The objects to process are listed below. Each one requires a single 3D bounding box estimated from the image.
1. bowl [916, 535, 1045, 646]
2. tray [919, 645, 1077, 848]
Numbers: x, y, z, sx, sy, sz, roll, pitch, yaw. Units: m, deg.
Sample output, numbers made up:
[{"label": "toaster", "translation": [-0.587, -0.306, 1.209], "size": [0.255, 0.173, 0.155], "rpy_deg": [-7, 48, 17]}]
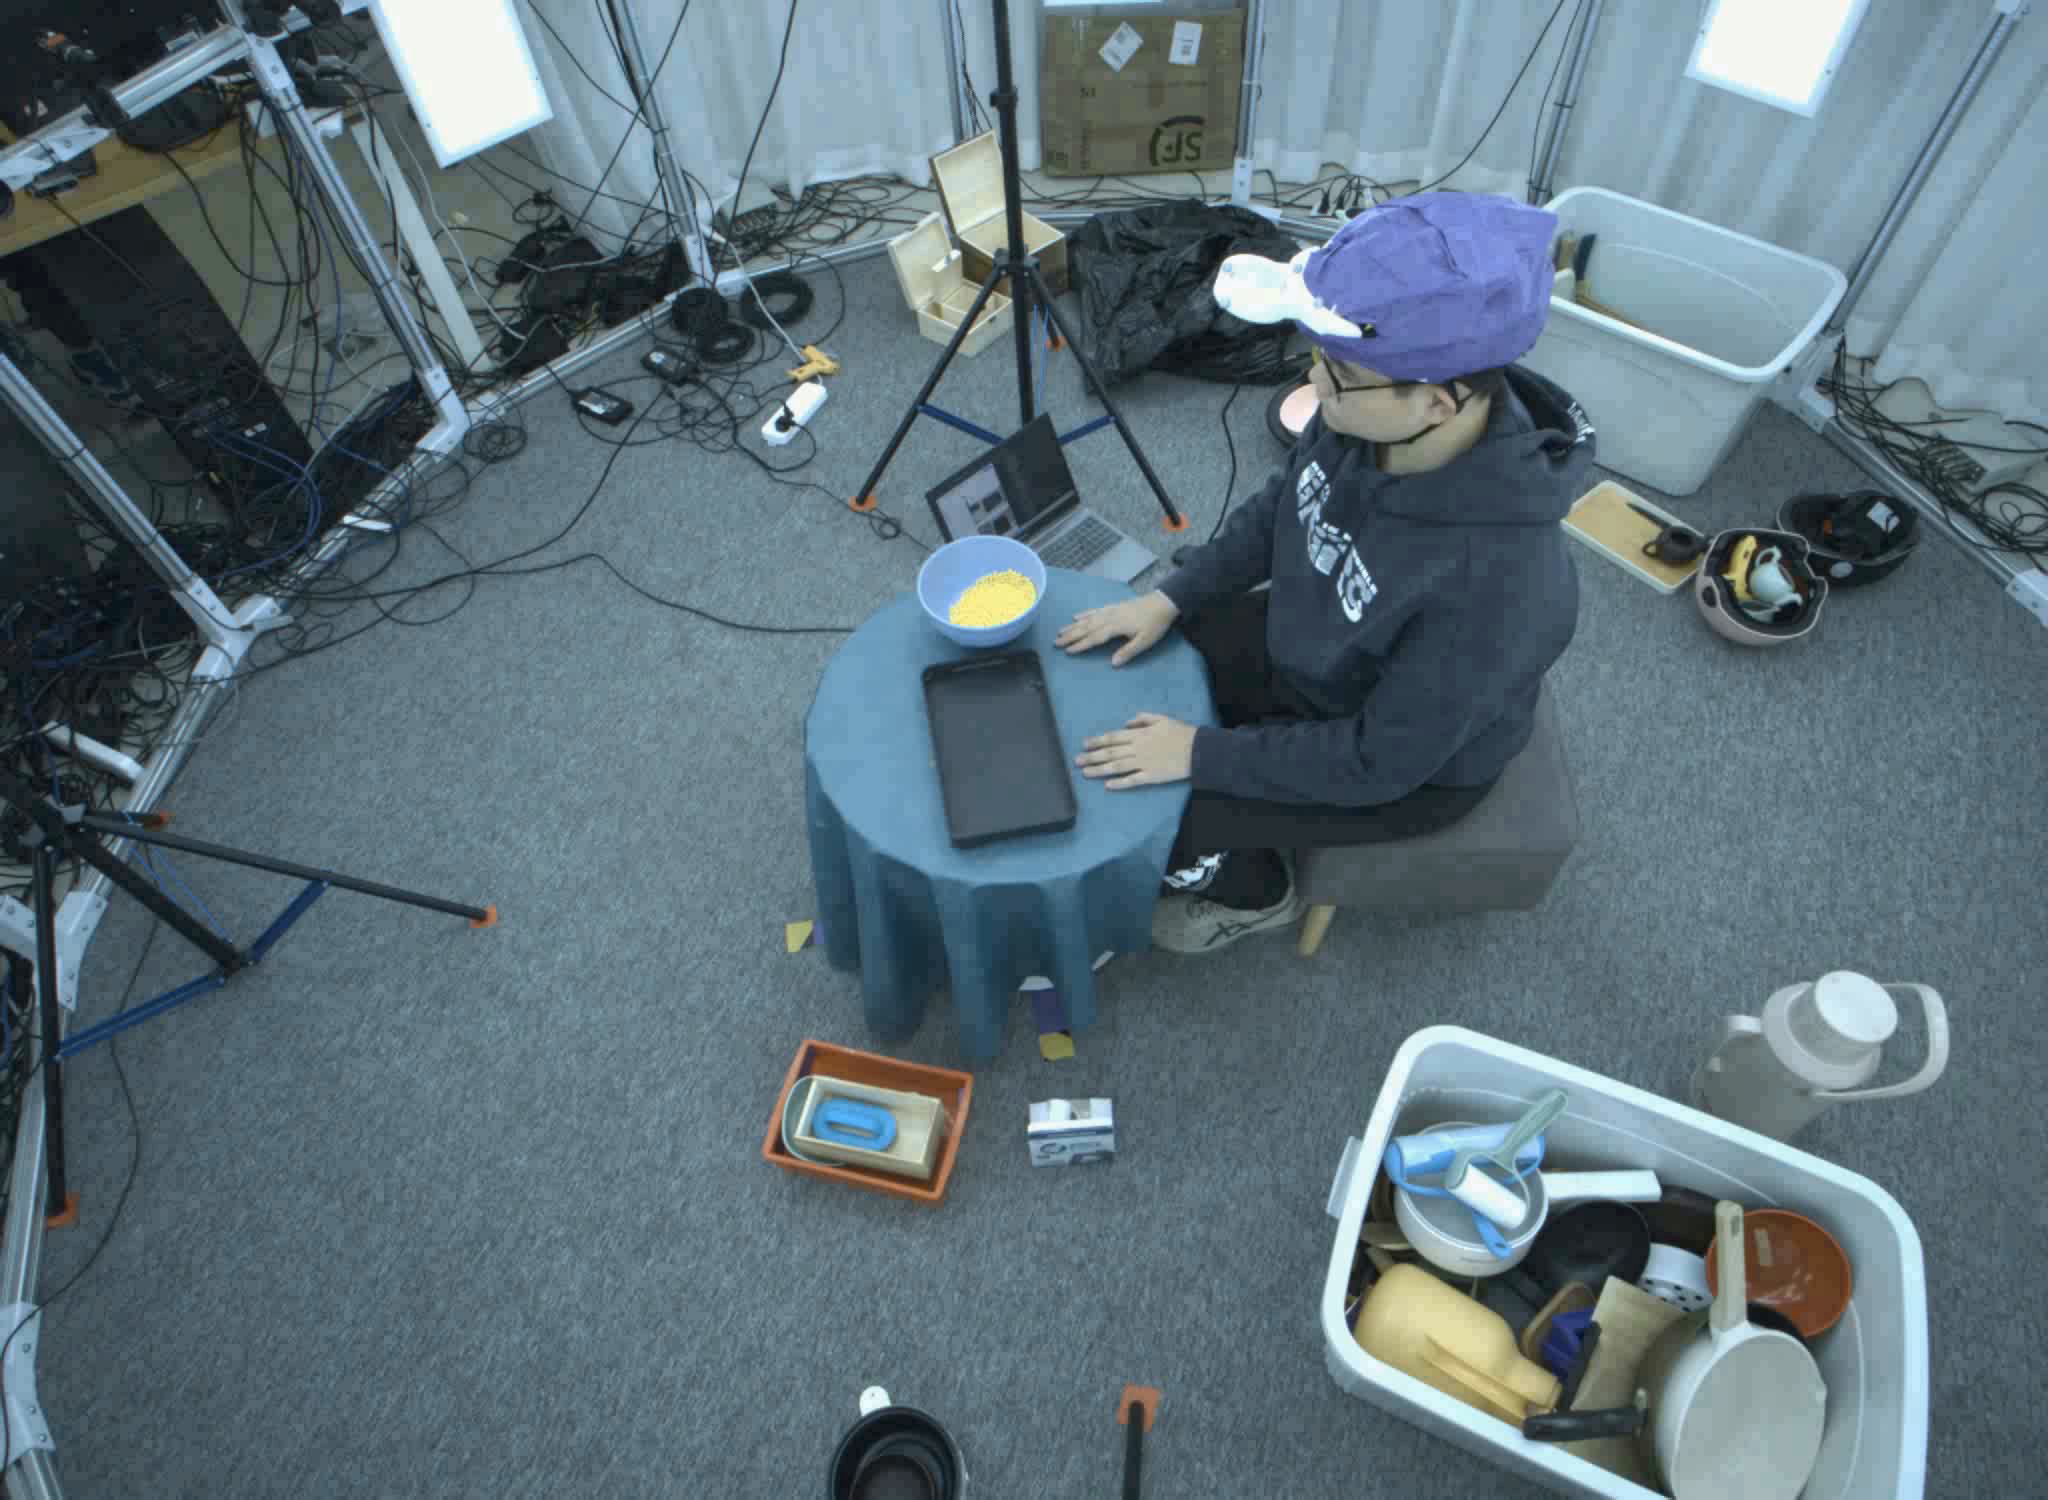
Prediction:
[{"label": "bowl", "translation": [-0.063, -0.231, 1.892], "size": [0.196, 0.096, 0.194], "rpy_deg": [-1, 54, 3]}, {"label": "tray", "translation": [-0.041, -0.011, 1.773], "size": [0.185, 0.037, 0.313], "rpy_deg": [-9, 55, -5]}]
